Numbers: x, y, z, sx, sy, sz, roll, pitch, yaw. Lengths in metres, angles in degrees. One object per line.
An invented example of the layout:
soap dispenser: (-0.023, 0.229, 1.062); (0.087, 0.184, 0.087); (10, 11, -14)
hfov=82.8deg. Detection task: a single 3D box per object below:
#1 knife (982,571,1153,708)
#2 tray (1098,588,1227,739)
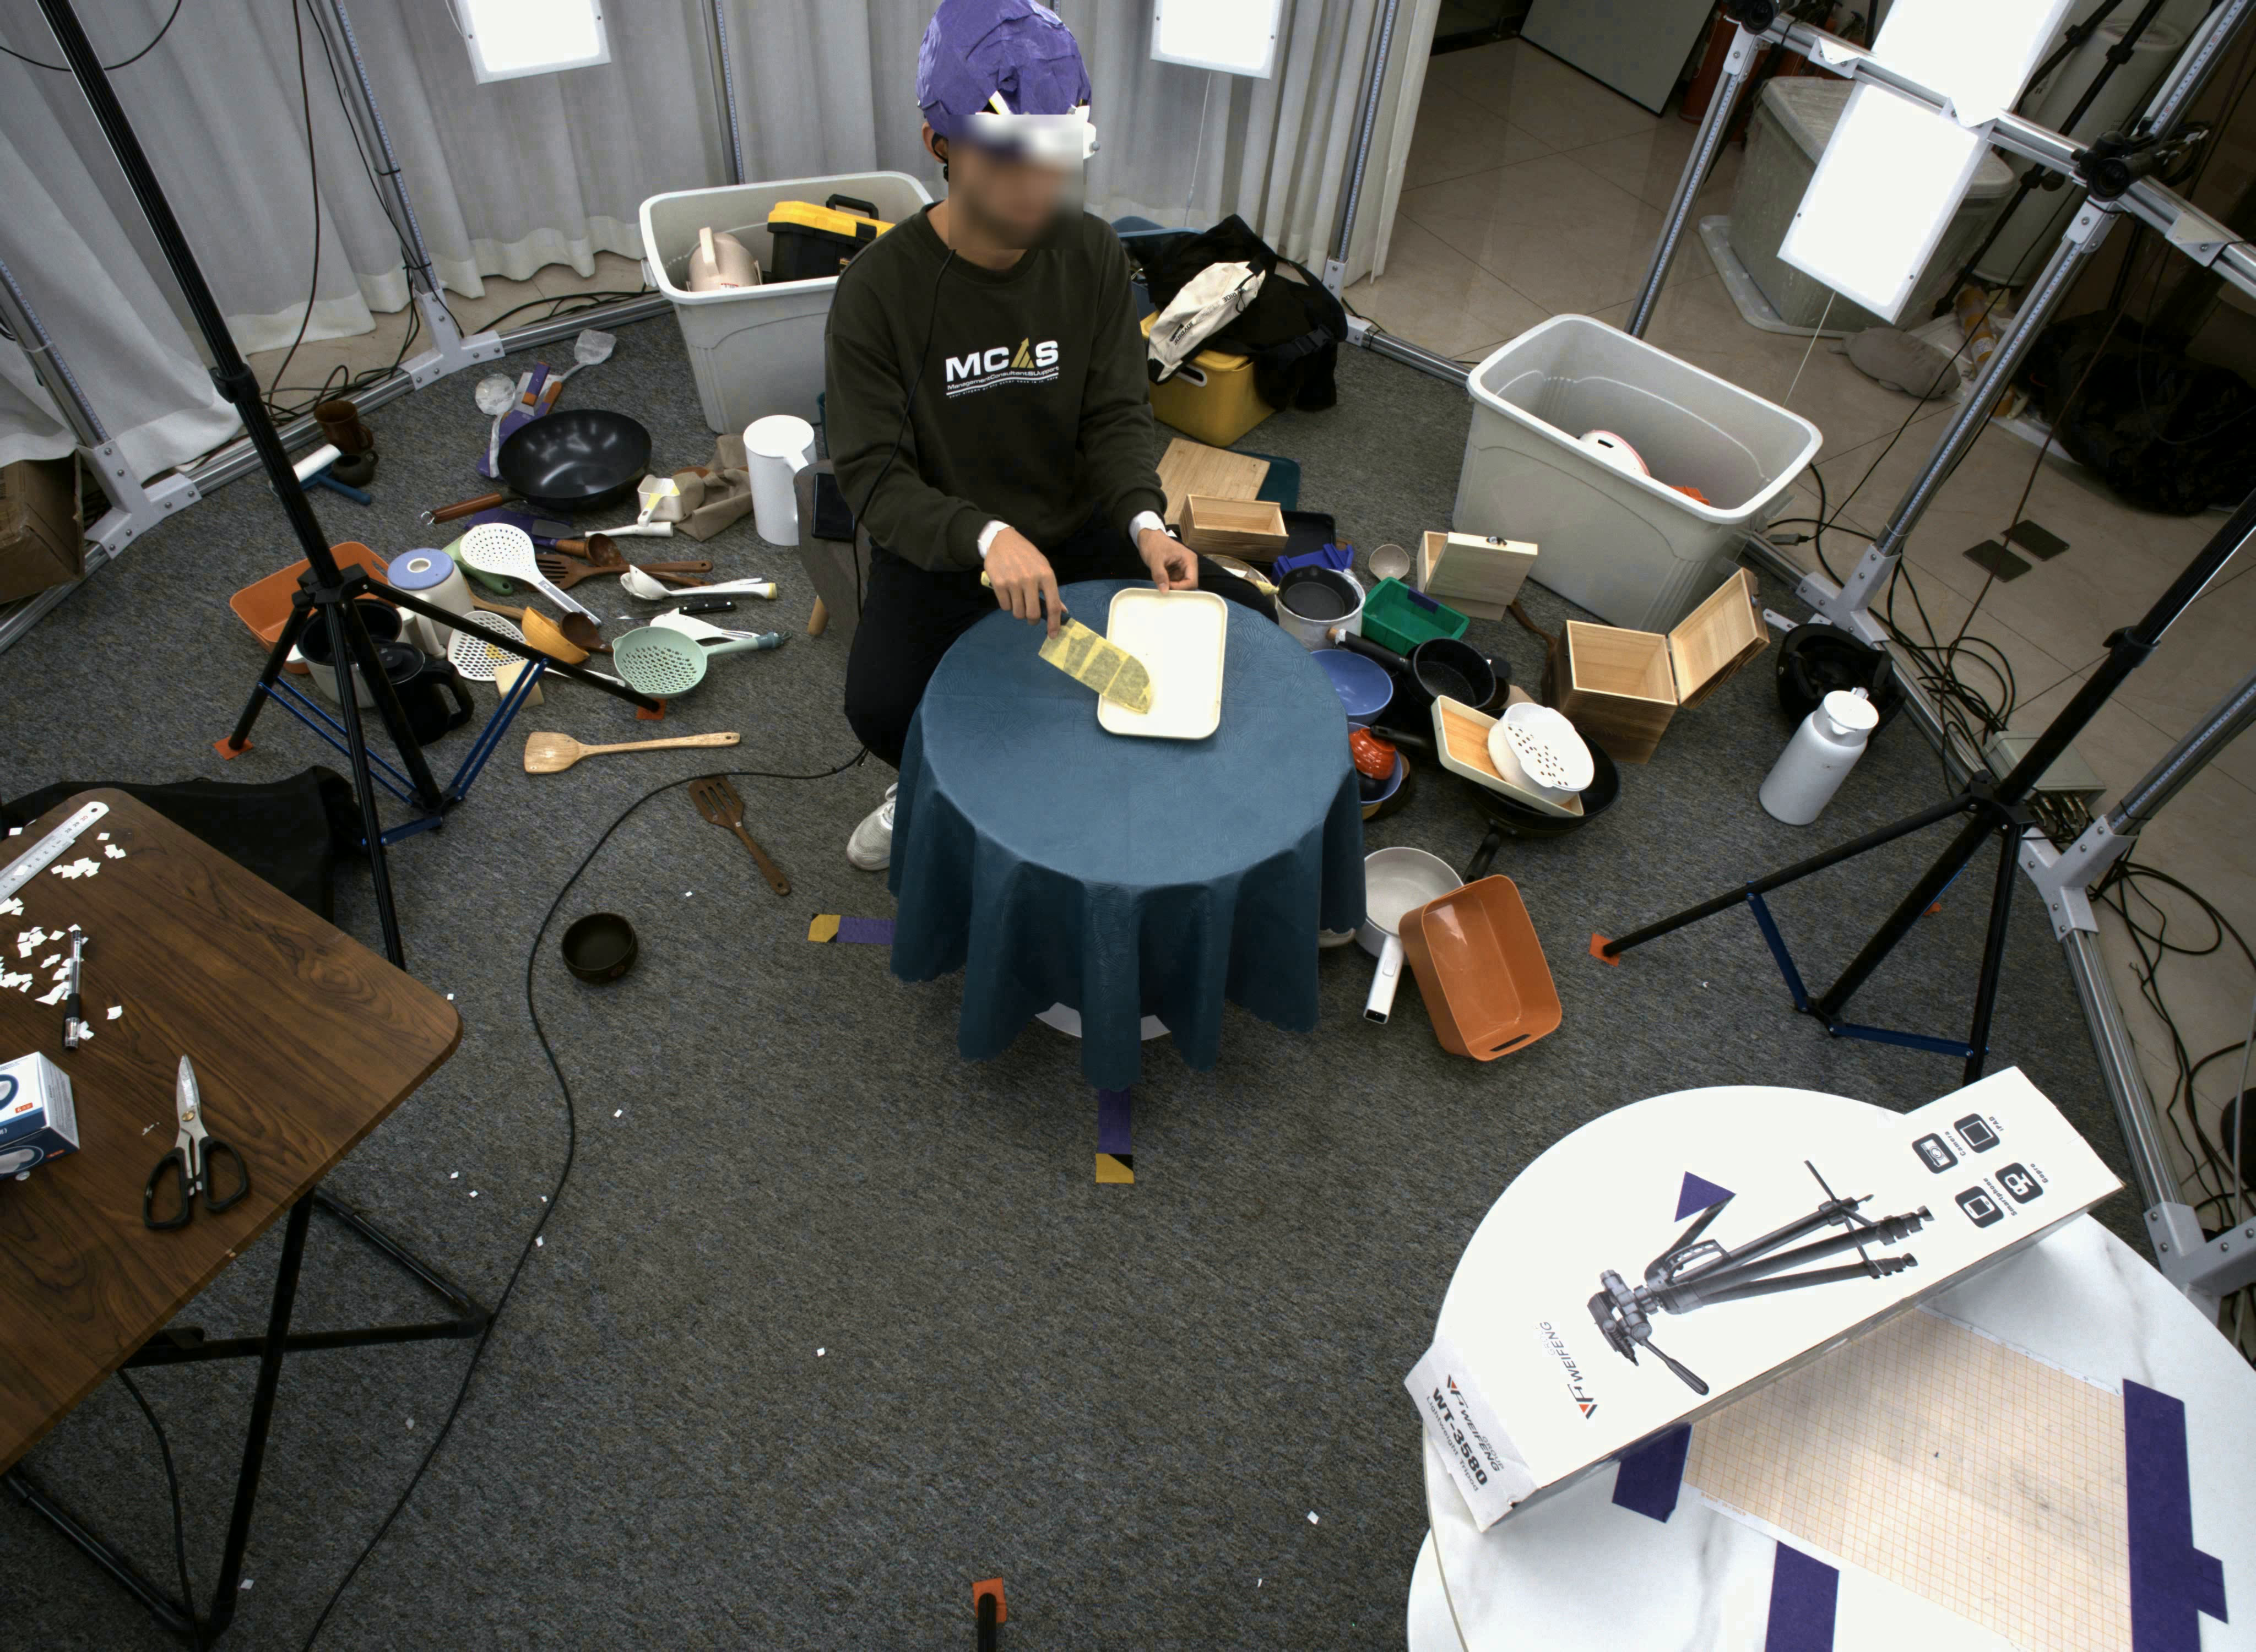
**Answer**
knife: (-0.085, -0.256, 1.777); (0.289, 0.080, 0.027); (35, 21, 0)
tray: (0.051, -0.231, 1.816); (0.171, 0.017, 0.244); (3, 65, 6)
